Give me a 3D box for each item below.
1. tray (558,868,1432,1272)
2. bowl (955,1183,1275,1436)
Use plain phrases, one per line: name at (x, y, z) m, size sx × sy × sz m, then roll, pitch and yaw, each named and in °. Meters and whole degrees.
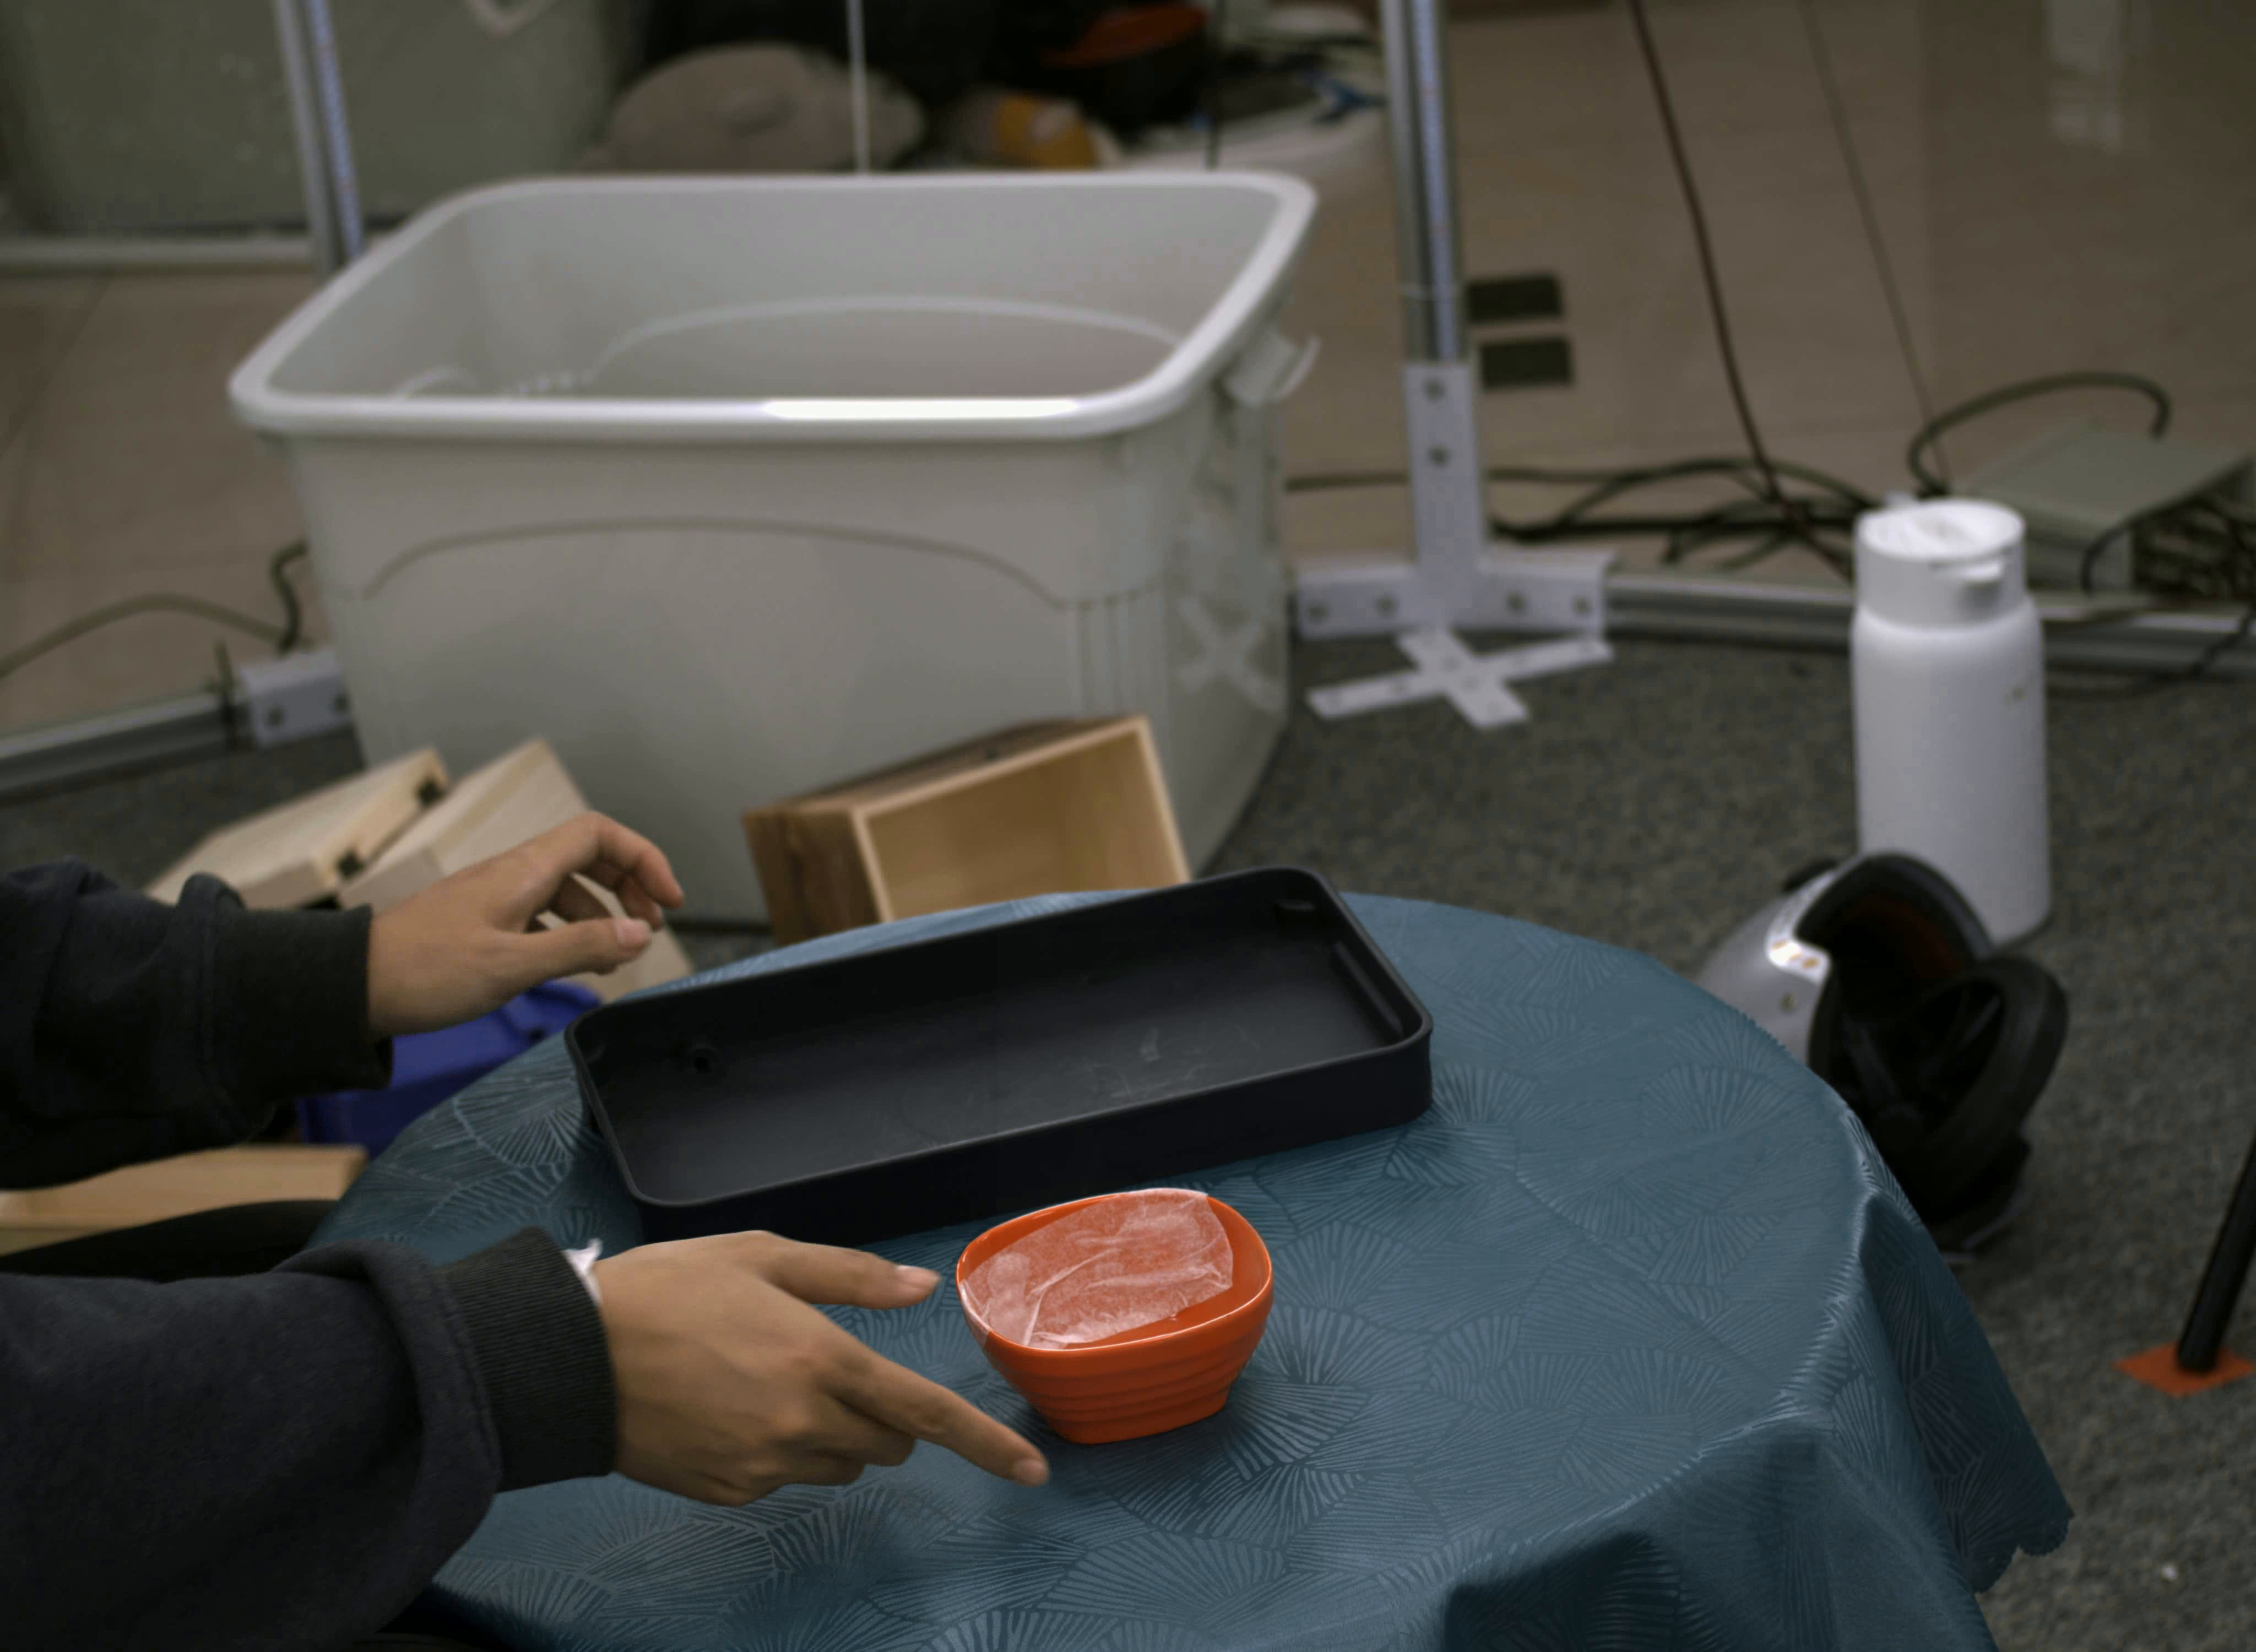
tray at (-0.053, 0.092, 2.214) m, size 0.317 × 0.037 × 0.182 m, roll -11°, pitch 25°, yaw -12°
bowl at (-0.004, 0.175, 2.003) m, size 0.119 × 0.052 × 0.117 m, roll -3°, pitch 25°, yaw 2°
